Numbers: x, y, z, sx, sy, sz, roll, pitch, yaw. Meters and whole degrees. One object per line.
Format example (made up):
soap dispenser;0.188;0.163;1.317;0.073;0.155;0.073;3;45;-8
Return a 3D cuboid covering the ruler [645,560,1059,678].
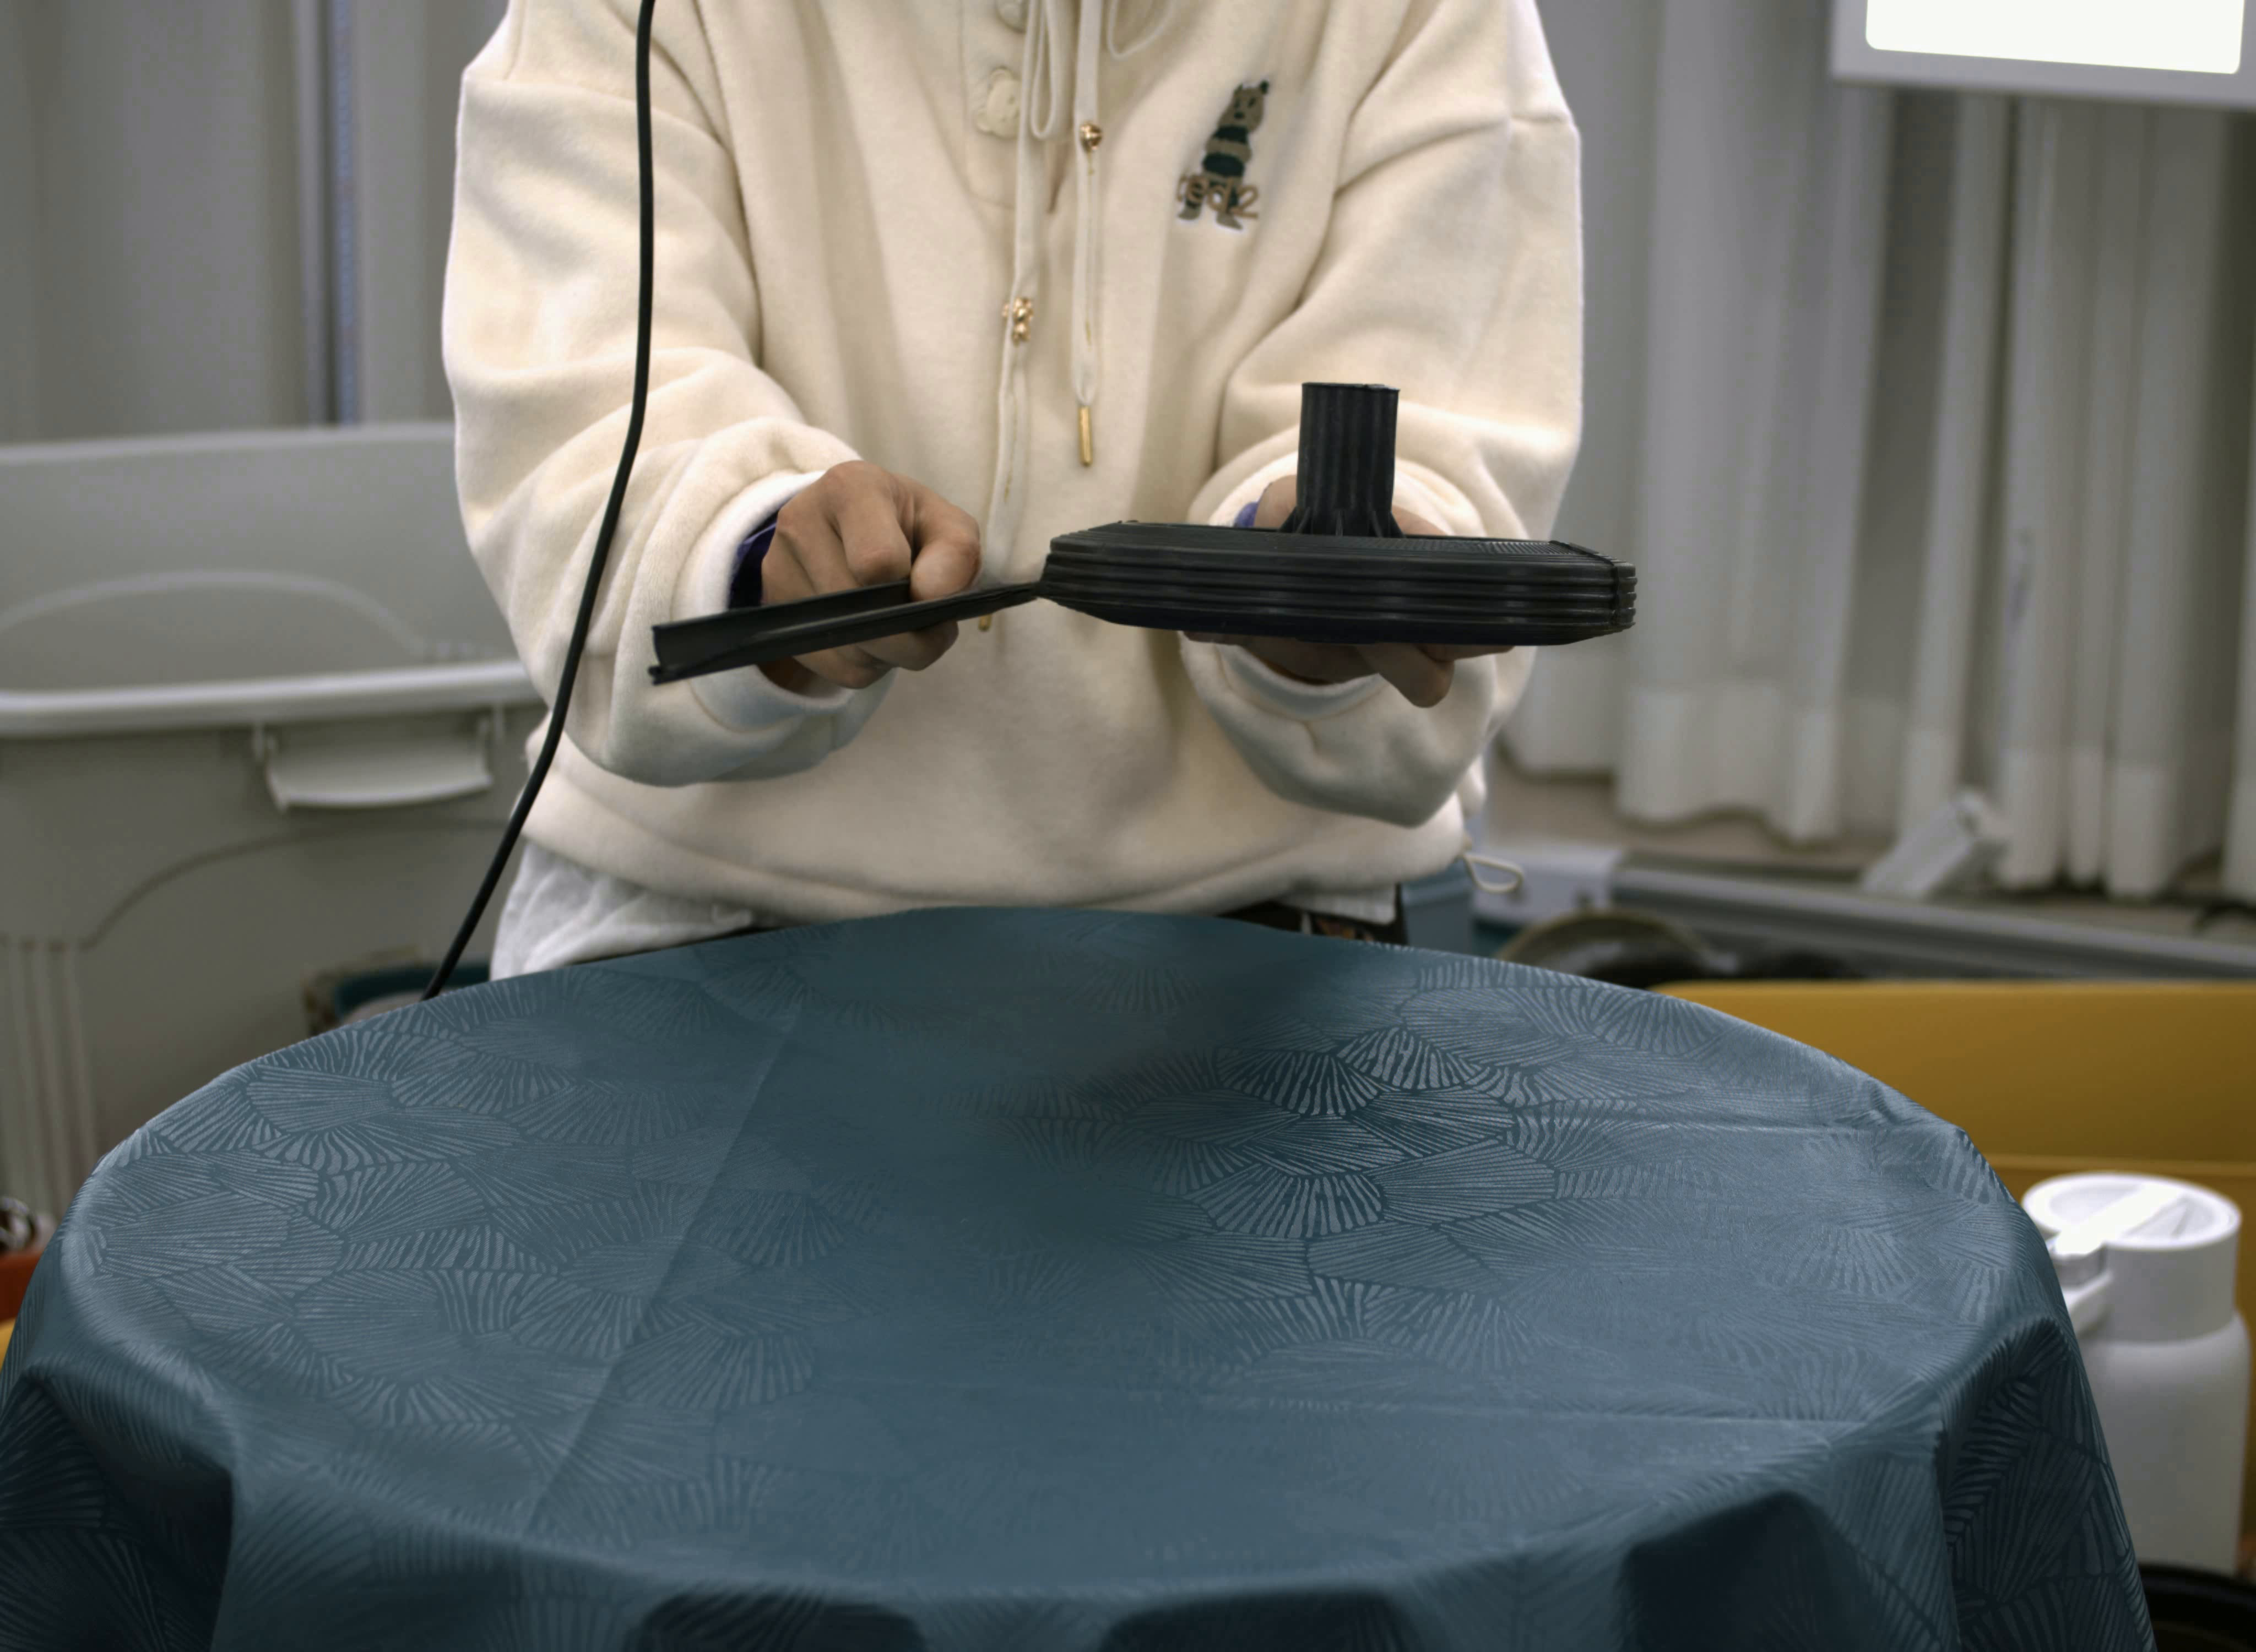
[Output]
ruler;-0.073;-0.069;1.585;0.039;0.017;0.313;-19;0;18

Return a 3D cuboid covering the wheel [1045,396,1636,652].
wheel;0.069;-0.096;1.670;0.191;0.079;0.185;2;4;-28
